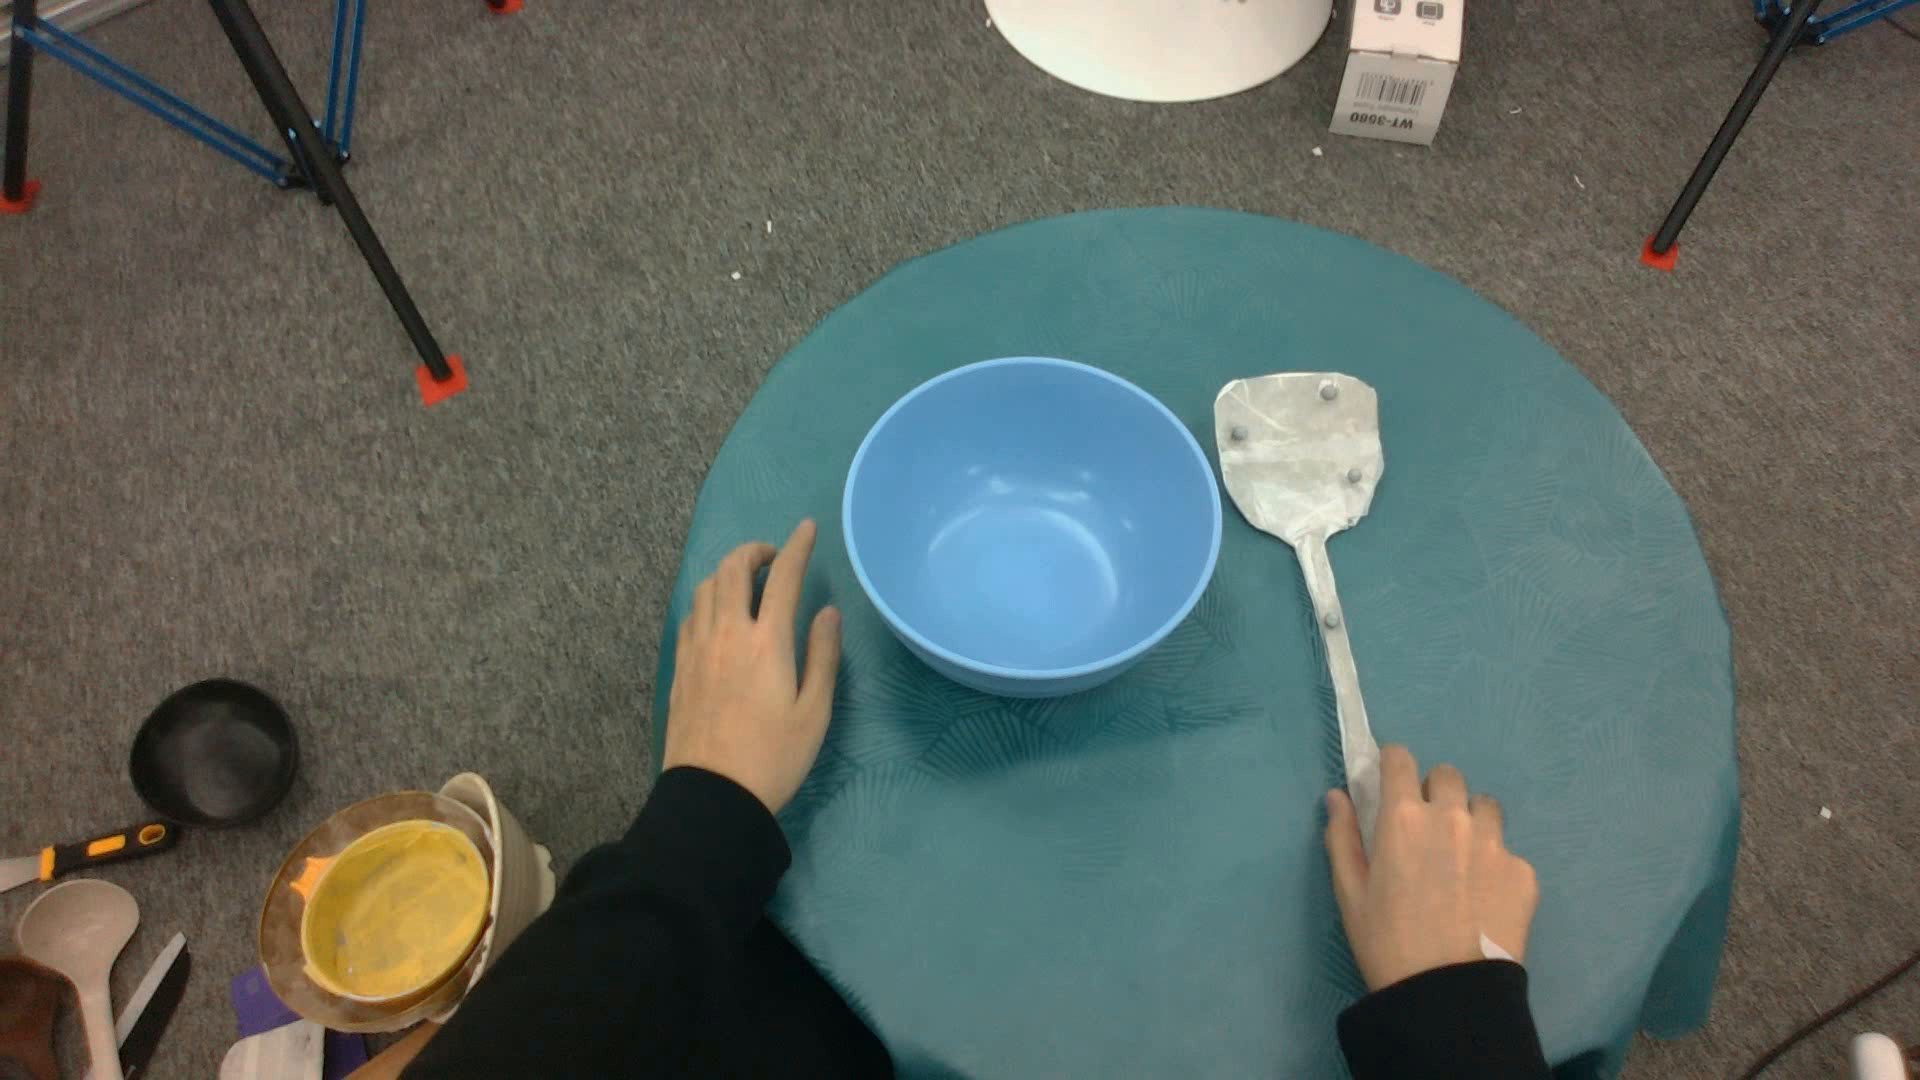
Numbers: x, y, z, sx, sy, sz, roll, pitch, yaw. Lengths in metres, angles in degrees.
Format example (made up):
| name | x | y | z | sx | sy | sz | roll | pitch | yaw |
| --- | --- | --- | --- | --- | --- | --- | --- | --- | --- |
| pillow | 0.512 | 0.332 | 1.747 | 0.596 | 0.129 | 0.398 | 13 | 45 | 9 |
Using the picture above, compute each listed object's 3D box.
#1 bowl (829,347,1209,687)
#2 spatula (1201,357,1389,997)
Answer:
| name | x | y | z | sx | sy | sz | roll | pitch | yaw |
| --- | --- | --- | --- | --- | --- | --- | --- | --- | --- |
| bowl | 0.029 | 0.001 | 0.748 | 0.196 | 0.095 | 0.197 | 1 | 58 | -2 |
| spatula | 0.196 | 0.057 | 0.750 | 0.099 | 0.044 | 0.366 | 0 | 58 | -3 |
